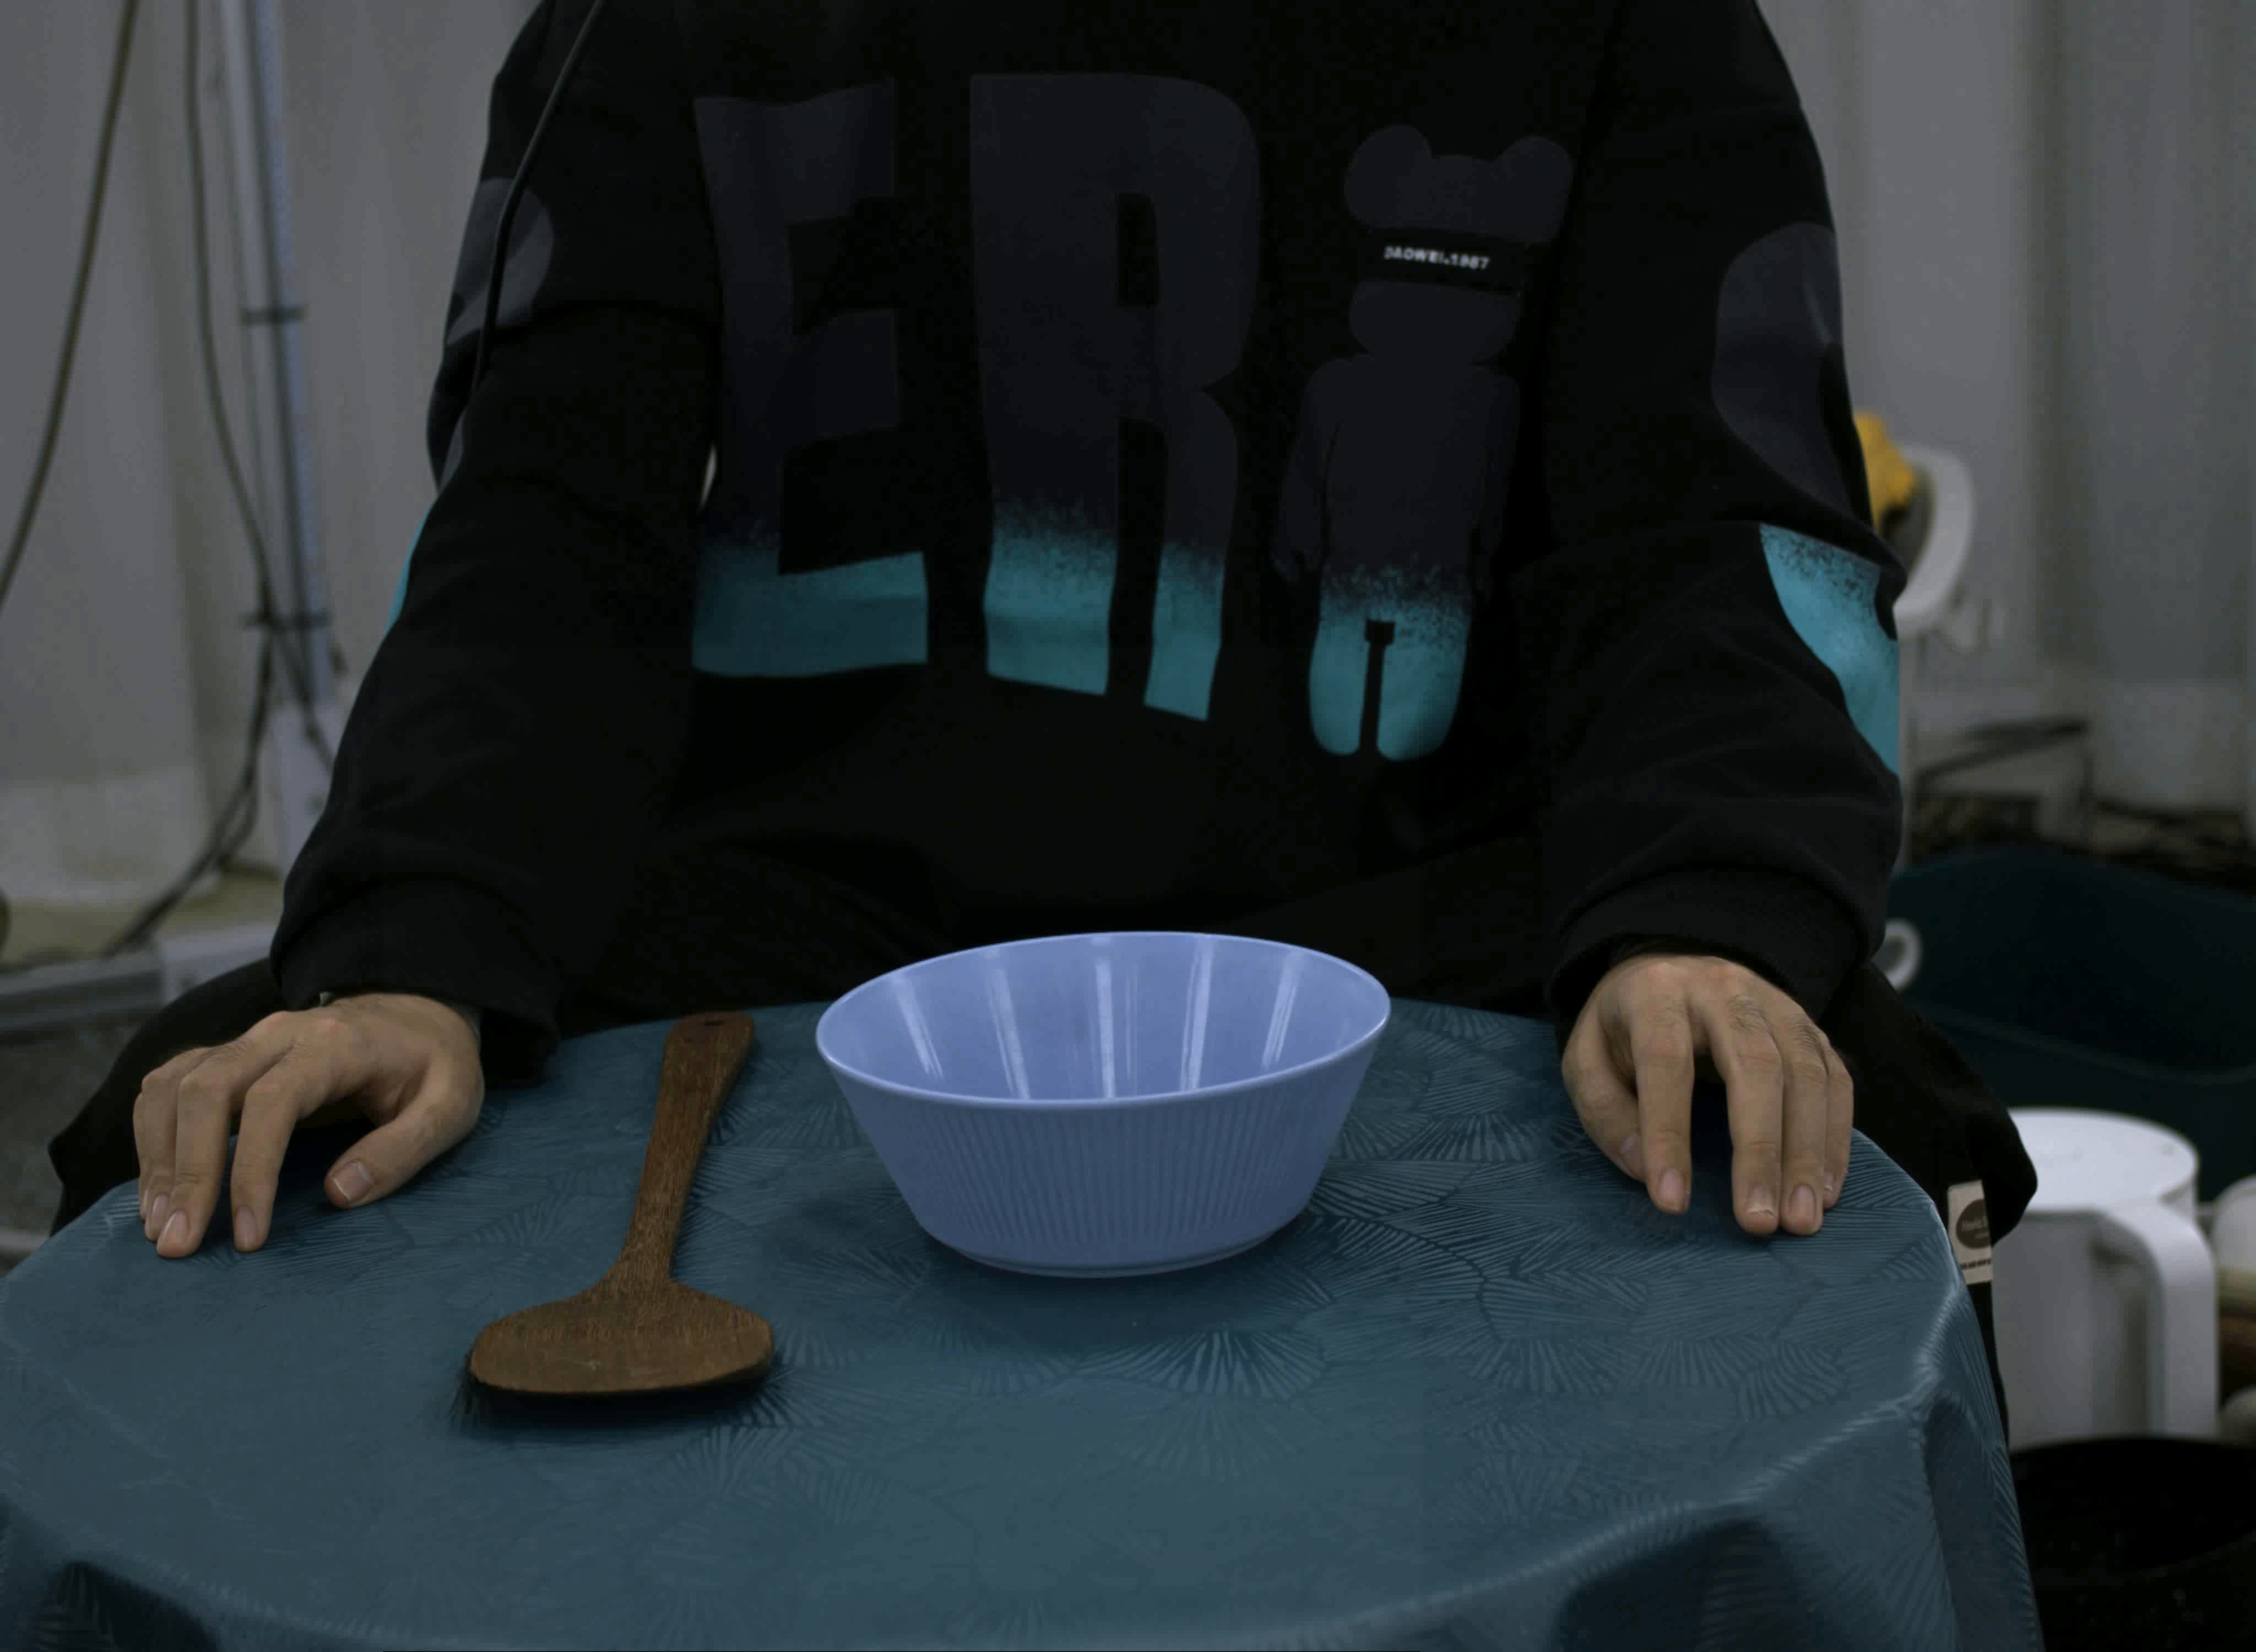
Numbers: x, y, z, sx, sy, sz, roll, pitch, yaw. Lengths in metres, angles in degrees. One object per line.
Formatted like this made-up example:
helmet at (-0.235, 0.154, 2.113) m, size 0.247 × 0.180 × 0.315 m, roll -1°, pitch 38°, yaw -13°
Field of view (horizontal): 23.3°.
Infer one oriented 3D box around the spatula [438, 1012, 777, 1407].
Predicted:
spatula at (-0.146, 0.114, 1.718) m, size 0.096 × 0.016 × 0.388 m, roll -2°, pitch 15°, yaw 1°

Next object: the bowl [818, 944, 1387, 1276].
bowl at (-0.006, 0.089, 1.678) m, size 0.175 × 0.070 × 0.177 m, roll -3°, pitch 13°, yaw 0°
